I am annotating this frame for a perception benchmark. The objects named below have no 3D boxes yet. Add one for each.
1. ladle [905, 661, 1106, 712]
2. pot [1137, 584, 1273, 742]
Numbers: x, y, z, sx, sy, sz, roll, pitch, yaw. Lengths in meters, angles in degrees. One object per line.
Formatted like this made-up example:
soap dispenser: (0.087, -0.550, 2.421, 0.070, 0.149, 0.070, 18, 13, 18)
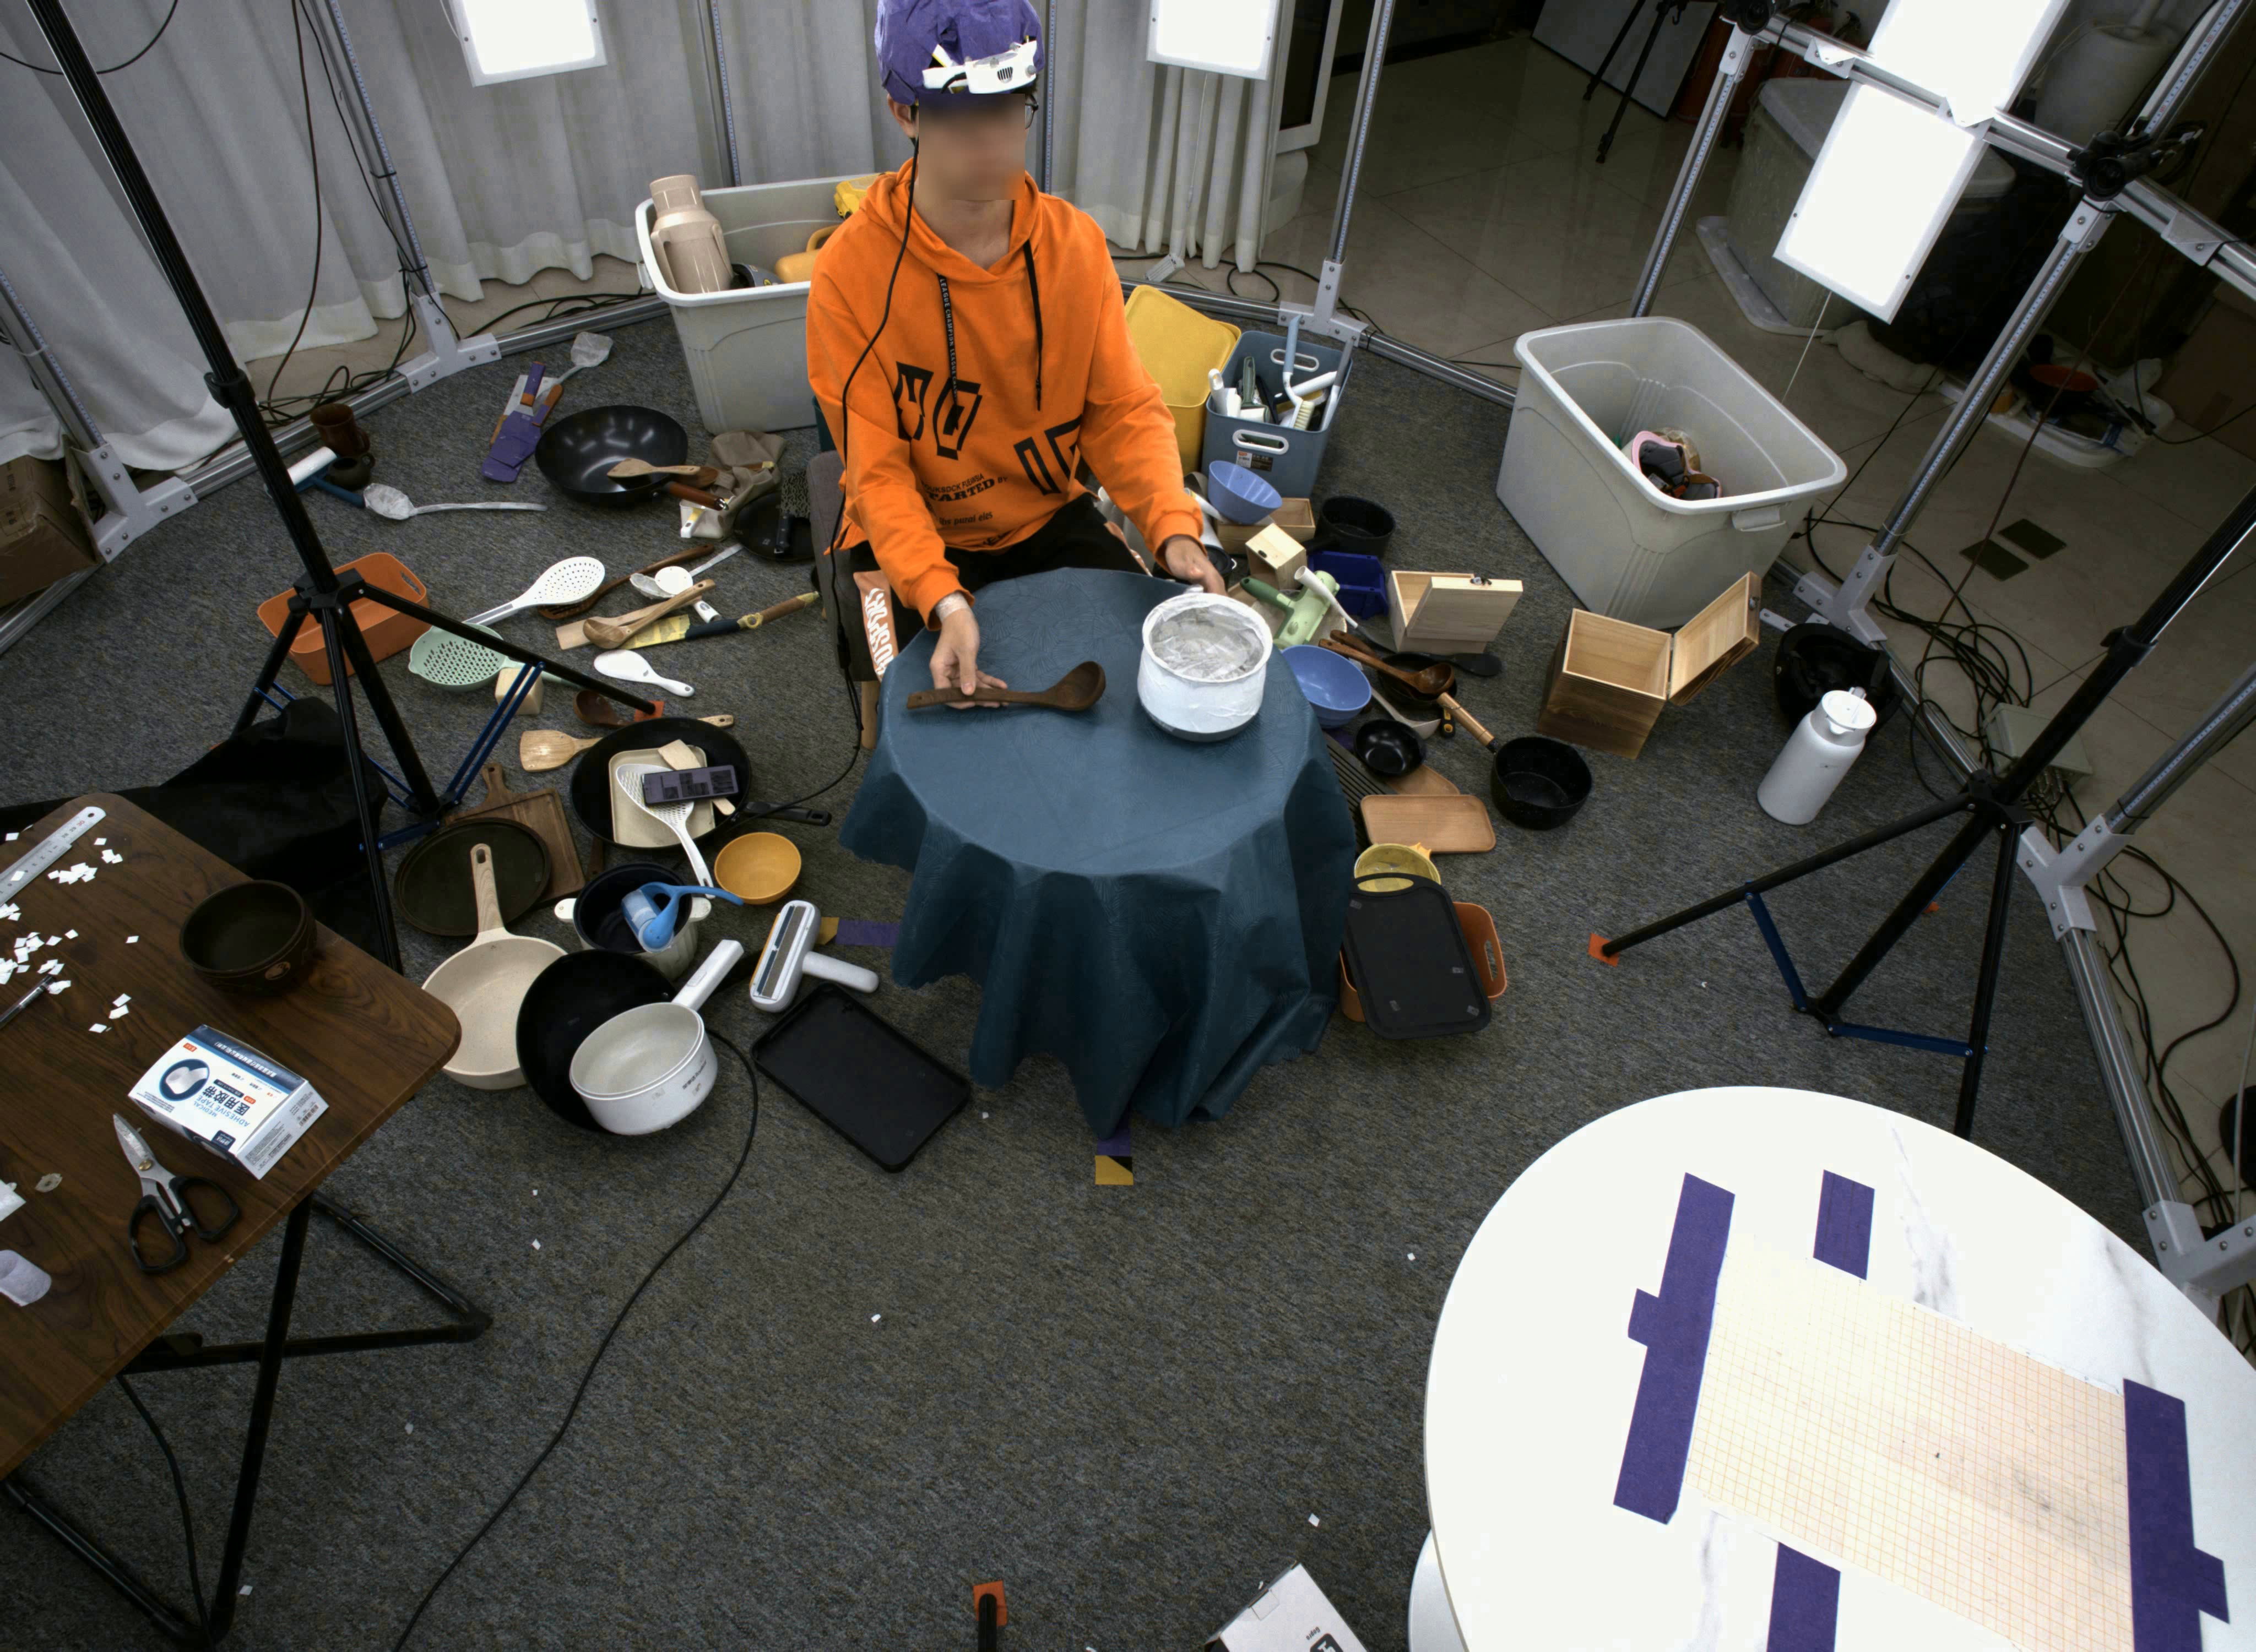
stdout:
ladle: (-0.167, -0.193, 1.772, 0.273, 0.069, 0.078, -1, 48, -11)
pot: (0.099, -0.237, 1.792, 0.178, 0.133, 0.239, -4, 50, -8)
